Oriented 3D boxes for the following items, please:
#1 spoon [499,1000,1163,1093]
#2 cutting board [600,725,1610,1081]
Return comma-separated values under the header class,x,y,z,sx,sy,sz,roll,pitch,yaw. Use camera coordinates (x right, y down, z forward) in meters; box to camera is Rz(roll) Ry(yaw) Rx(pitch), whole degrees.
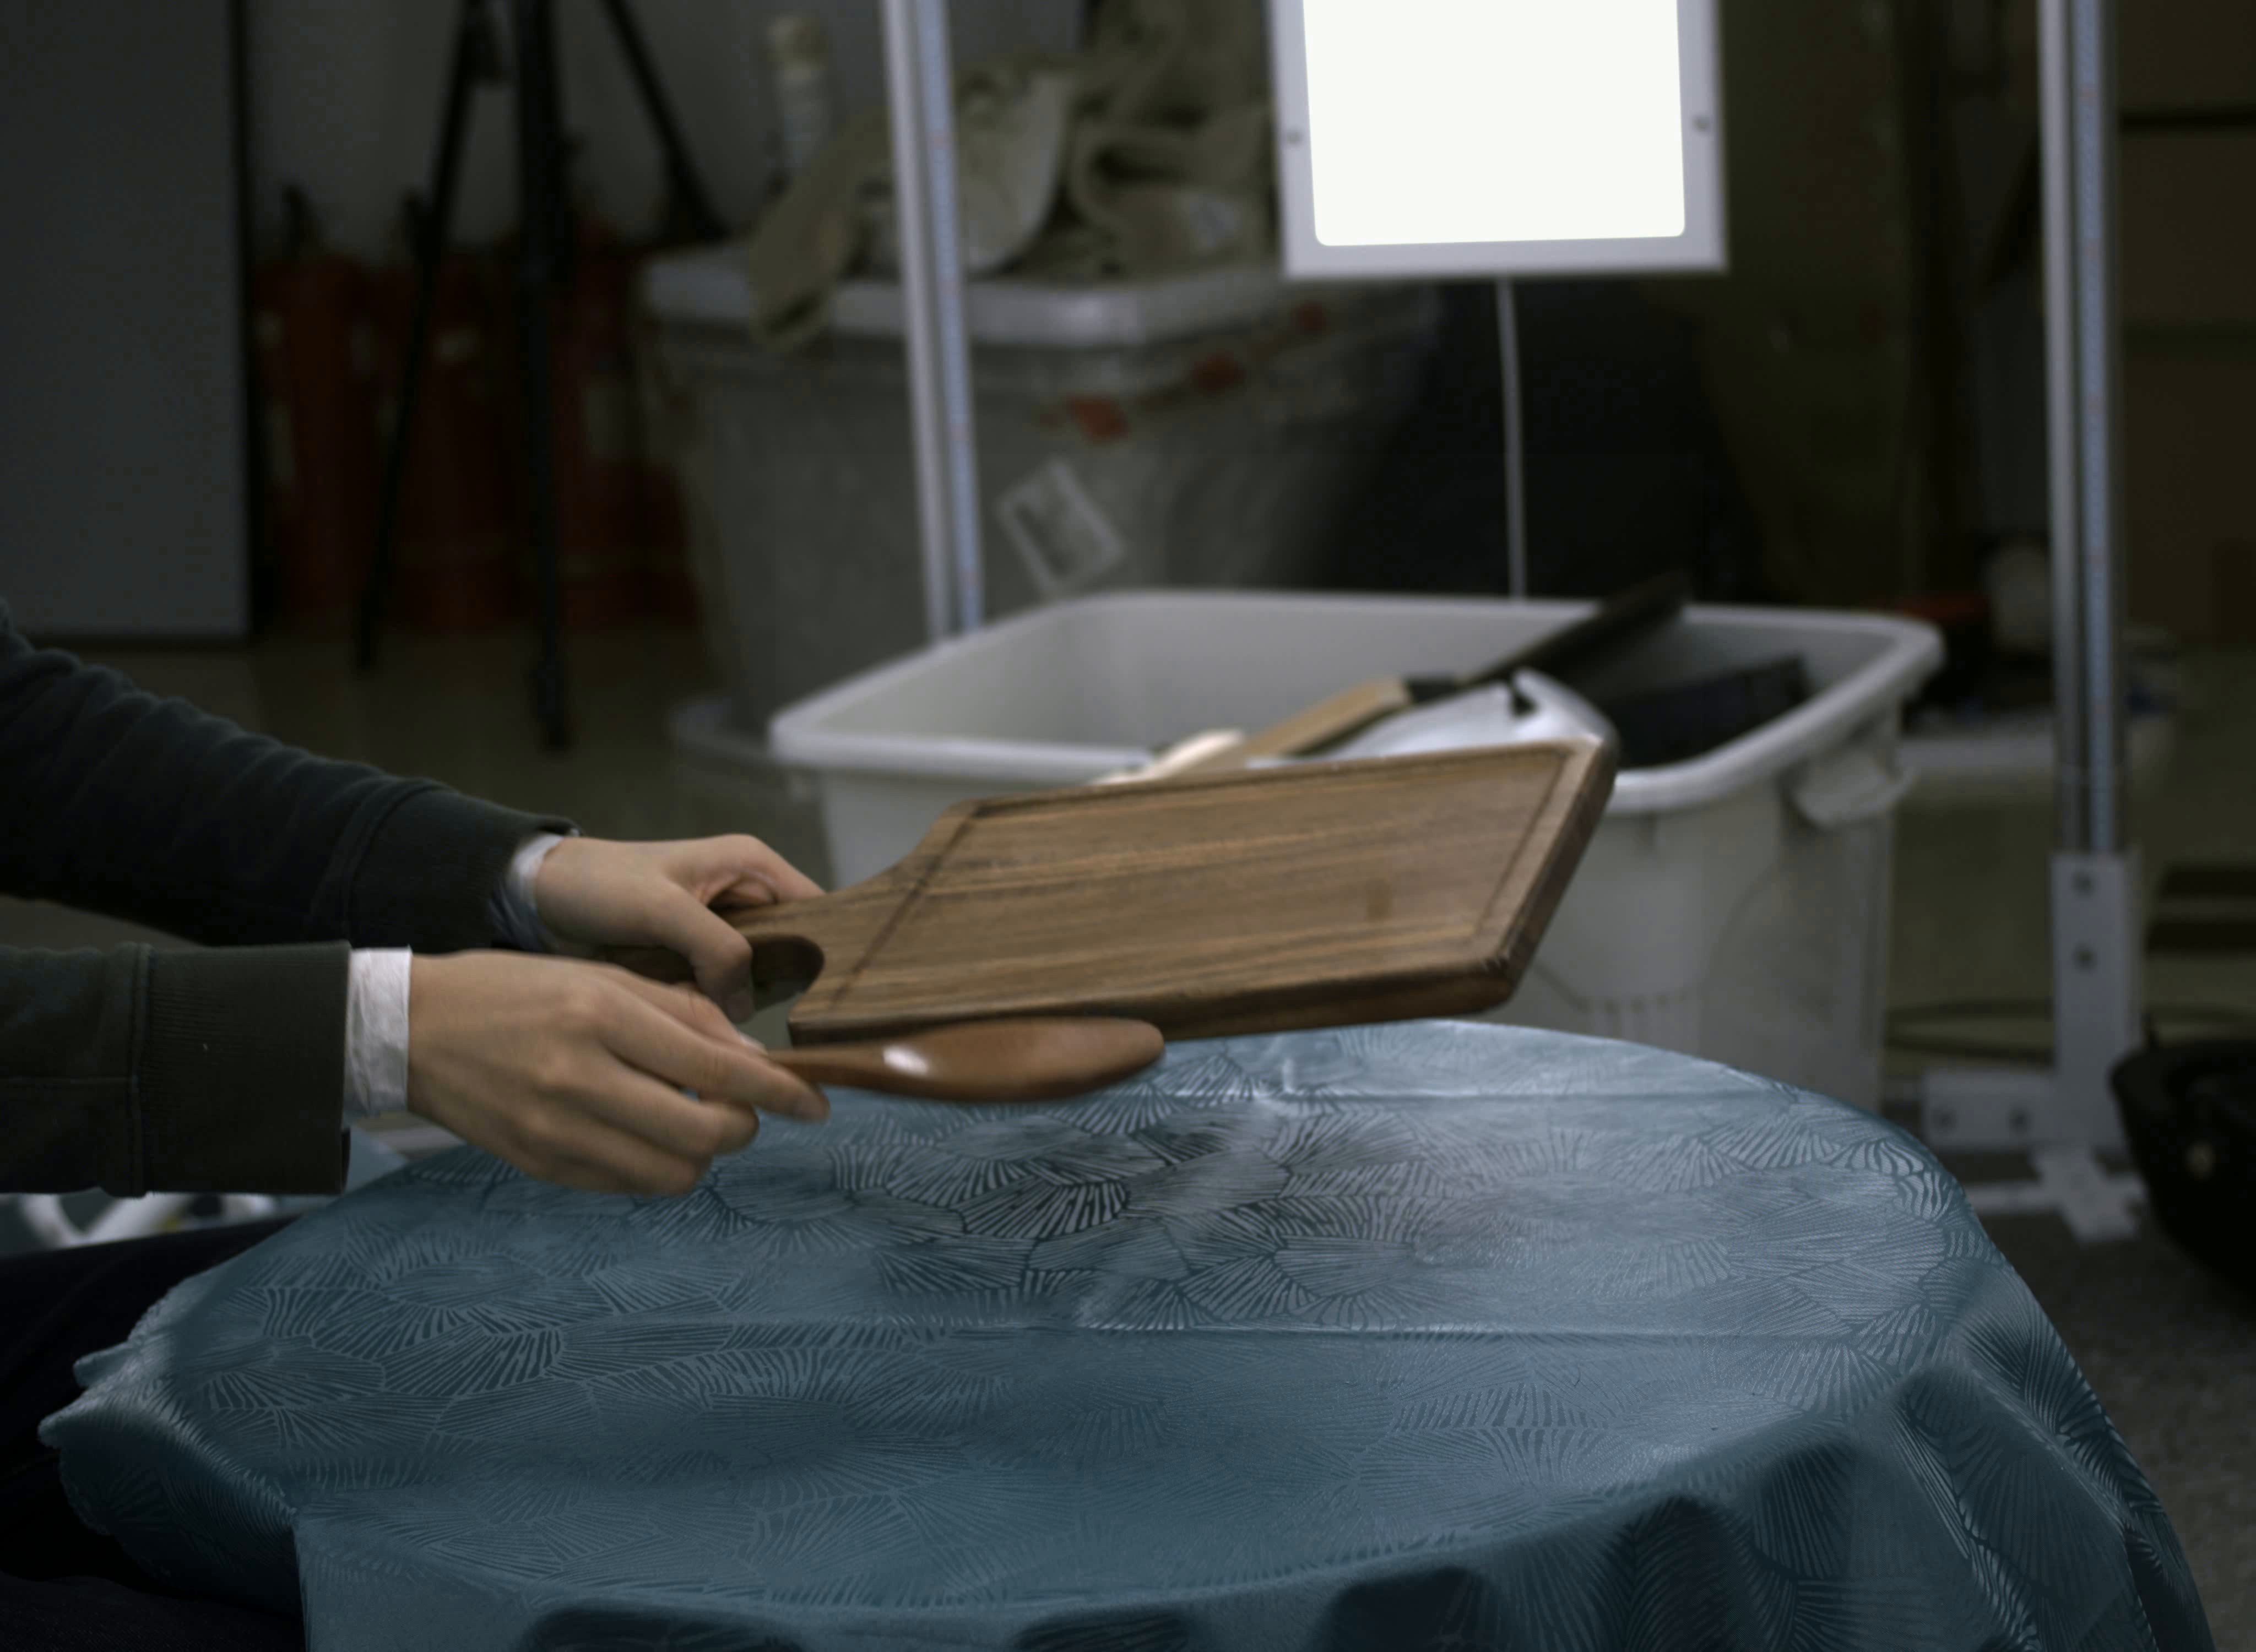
class,x,y,z,sx,sy,sz,roll,pitch,yaw
spoon,-0.094,0.071,1.716,0.218,0.017,0.074,-1,13,17
cutting board,-0.019,0.030,1.893,0.357,0.023,0.198,-7,23,21
